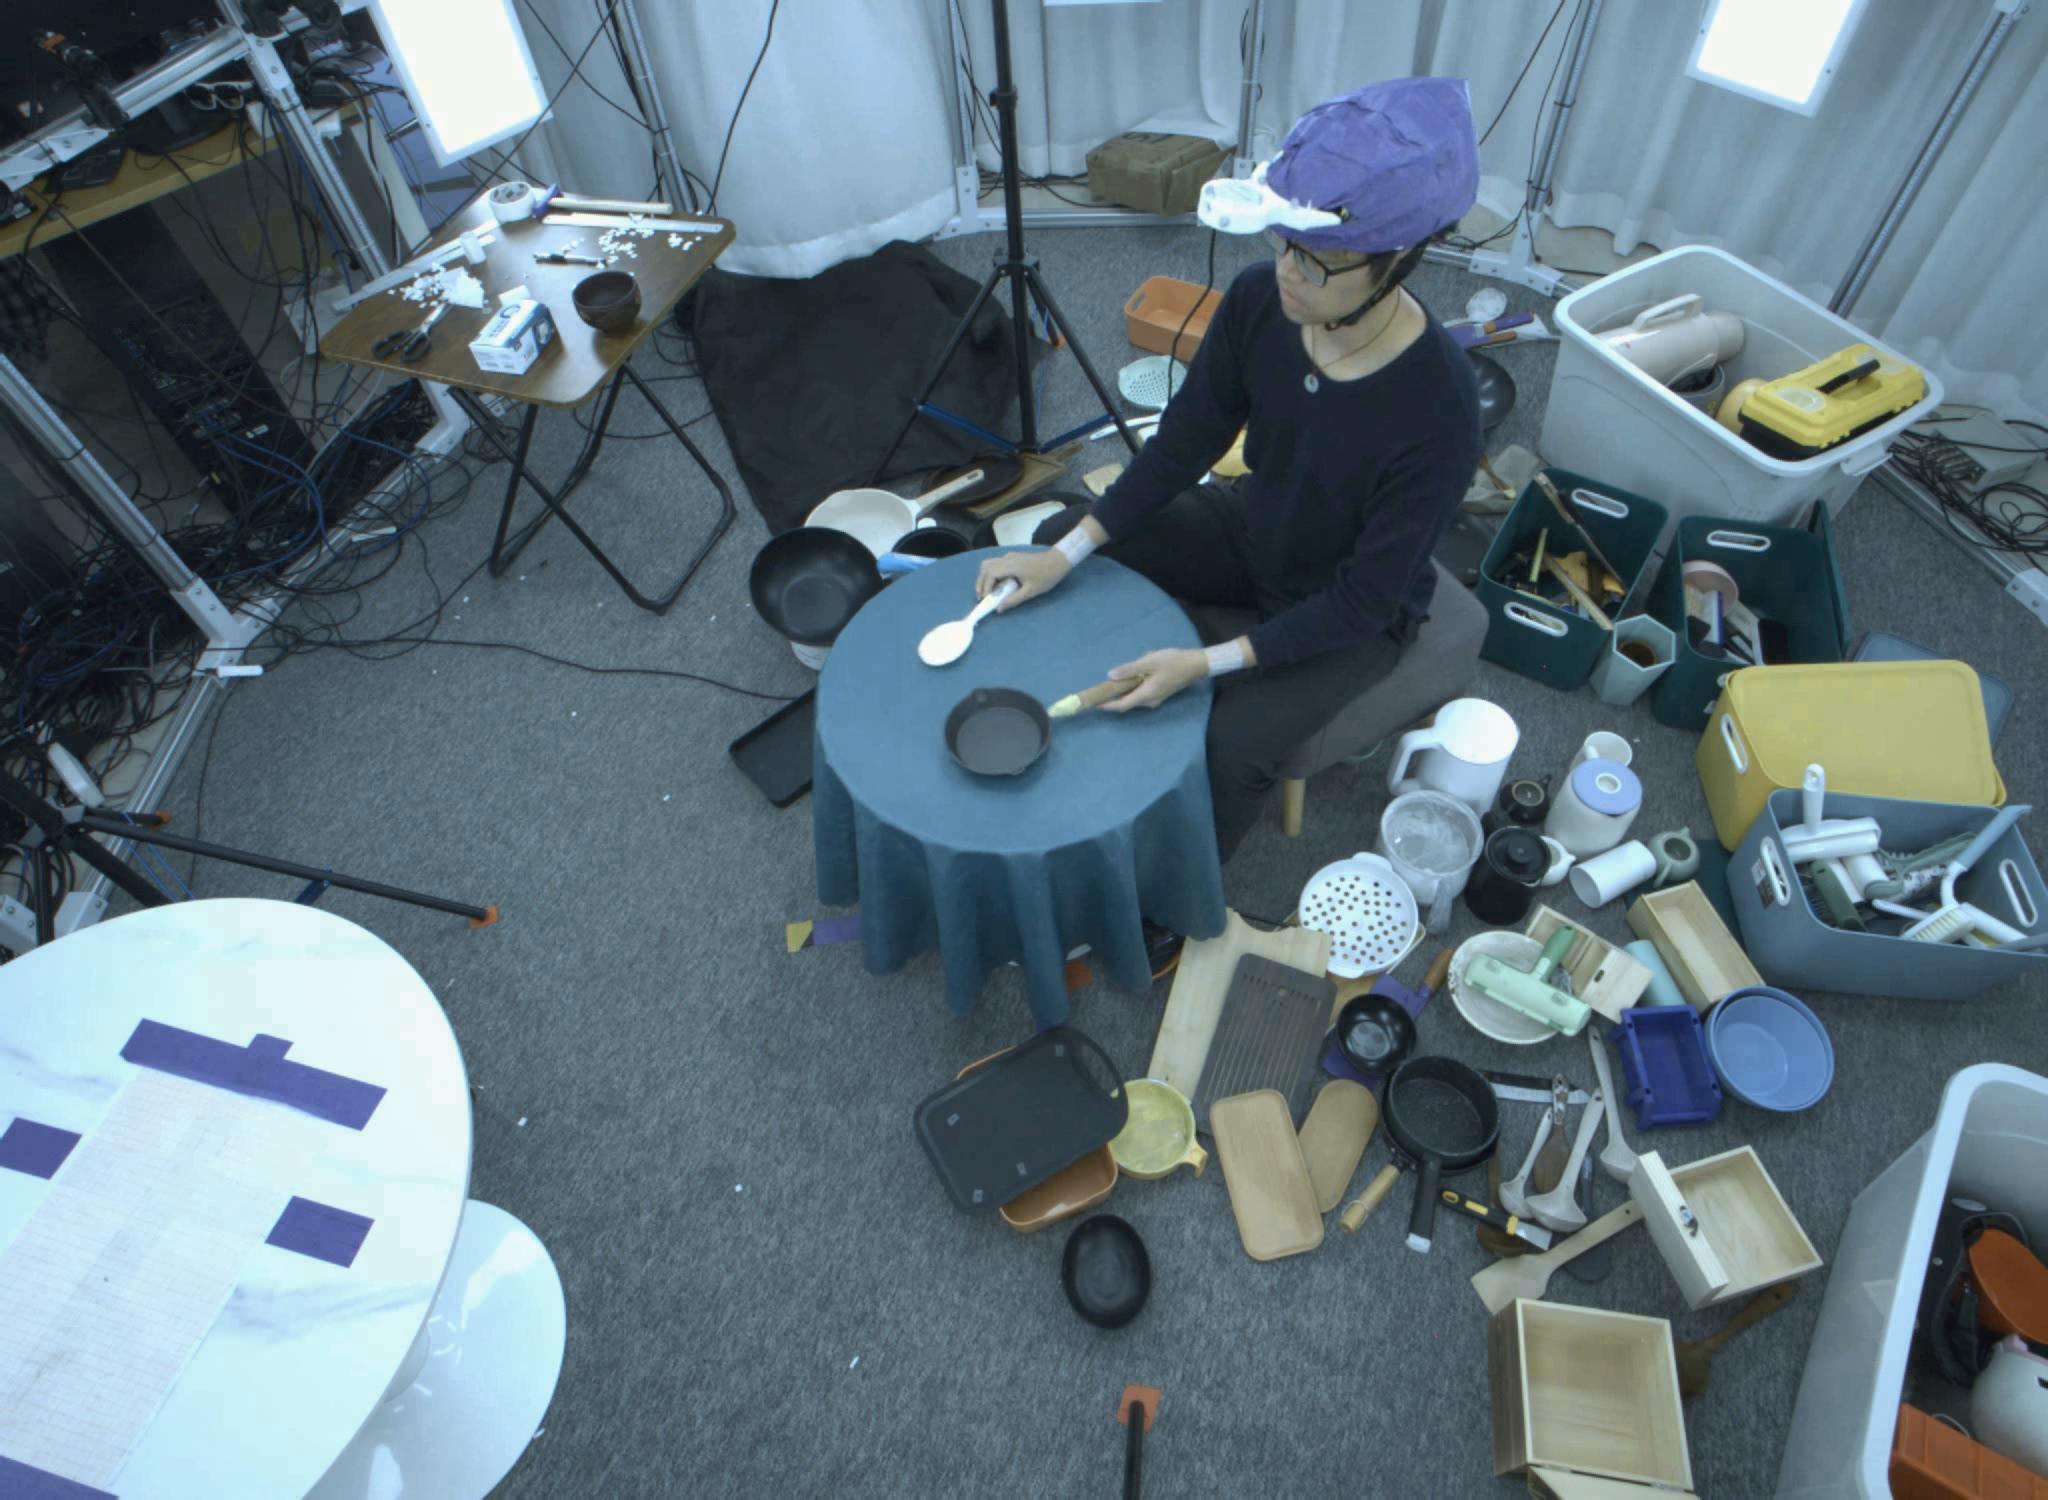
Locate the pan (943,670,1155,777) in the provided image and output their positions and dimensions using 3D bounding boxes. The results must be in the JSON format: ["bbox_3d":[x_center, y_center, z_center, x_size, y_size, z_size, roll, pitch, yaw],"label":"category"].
[{"bbox_3d":[0.041,-0.052,1.791,0.326,0.050,0.166,-19,56,-9],"label":"pan"}]

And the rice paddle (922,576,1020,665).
[{"bbox_3d":[-0.082,-0.201,1.915,0.067,0.030,0.206,31,61,25],"label":"rice paddle"}]
